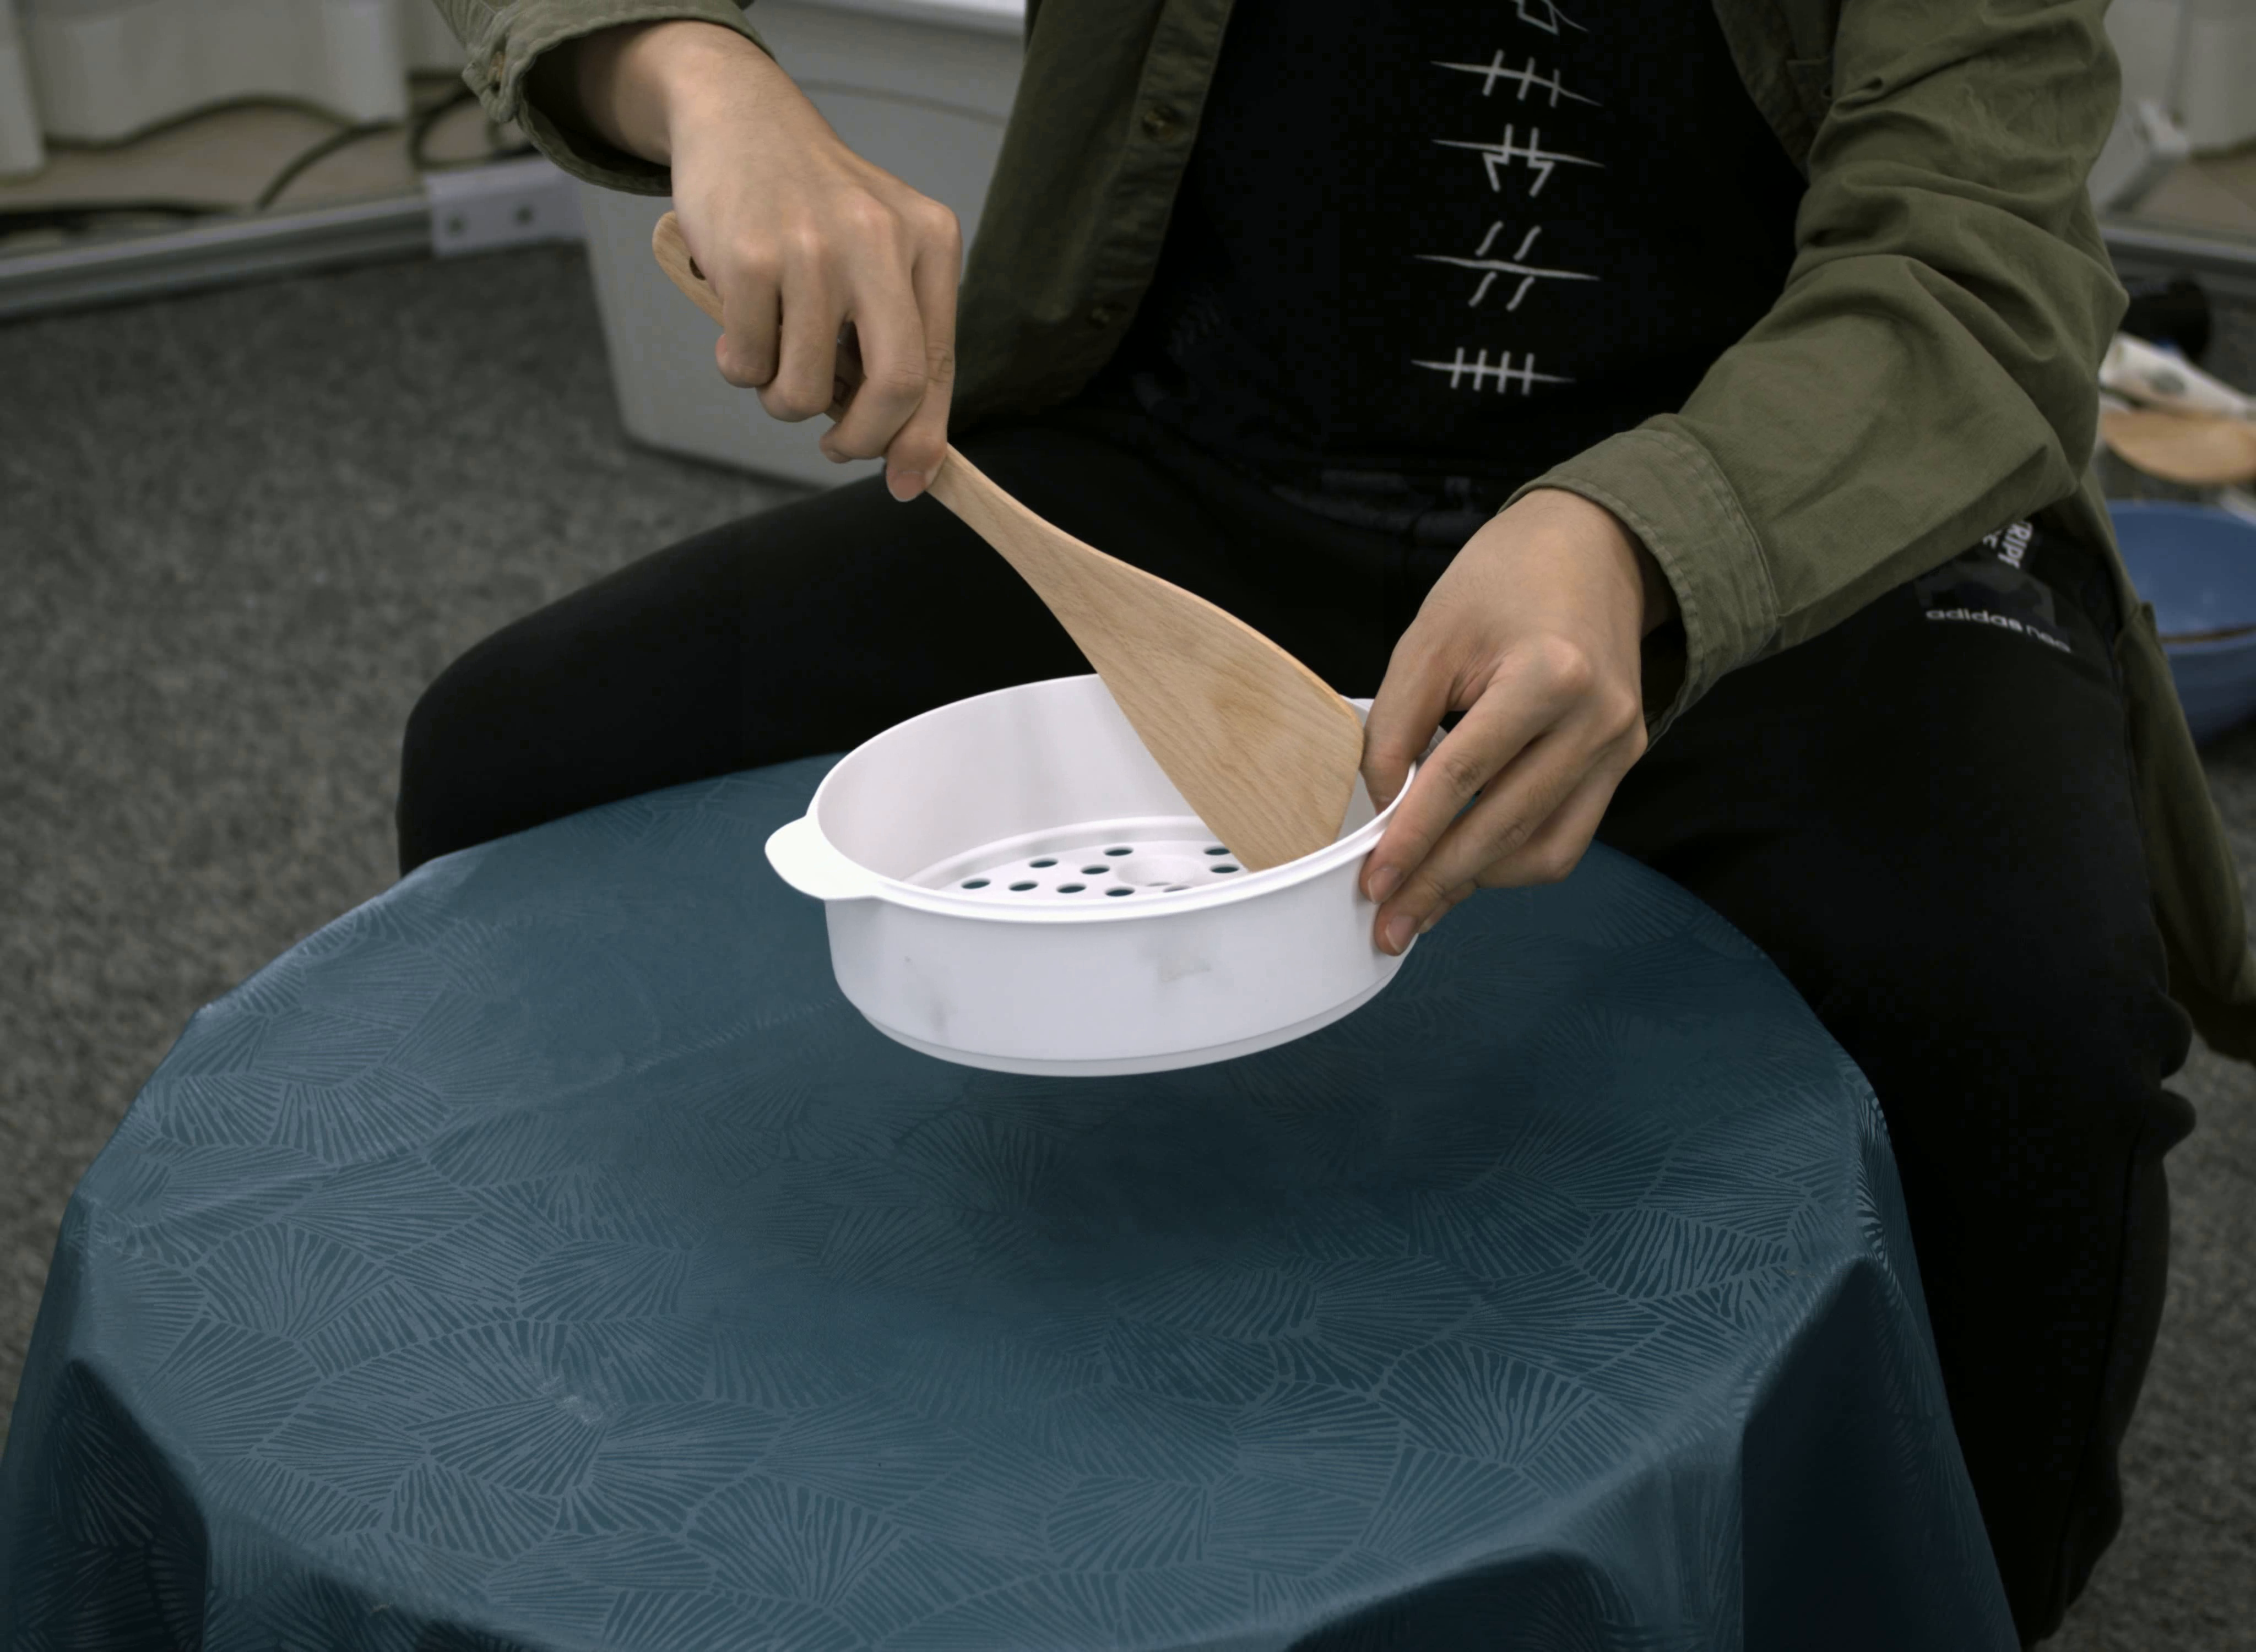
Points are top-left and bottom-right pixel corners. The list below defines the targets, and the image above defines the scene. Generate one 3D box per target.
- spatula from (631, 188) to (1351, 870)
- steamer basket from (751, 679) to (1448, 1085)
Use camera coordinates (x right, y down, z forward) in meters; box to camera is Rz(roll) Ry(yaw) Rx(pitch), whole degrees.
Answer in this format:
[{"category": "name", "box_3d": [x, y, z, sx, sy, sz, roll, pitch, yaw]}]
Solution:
[{"category": "spatula", "box_3d": [-0.049, -0.108, 1.870, 0.328, 0.078, 0.017, 41, 39, 16]}, {"category": "steamer basket", "box_3d": [-0.007, 0.018, 1.827, 0.231, 0.068, 0.203, -11, 23, -18]}]
